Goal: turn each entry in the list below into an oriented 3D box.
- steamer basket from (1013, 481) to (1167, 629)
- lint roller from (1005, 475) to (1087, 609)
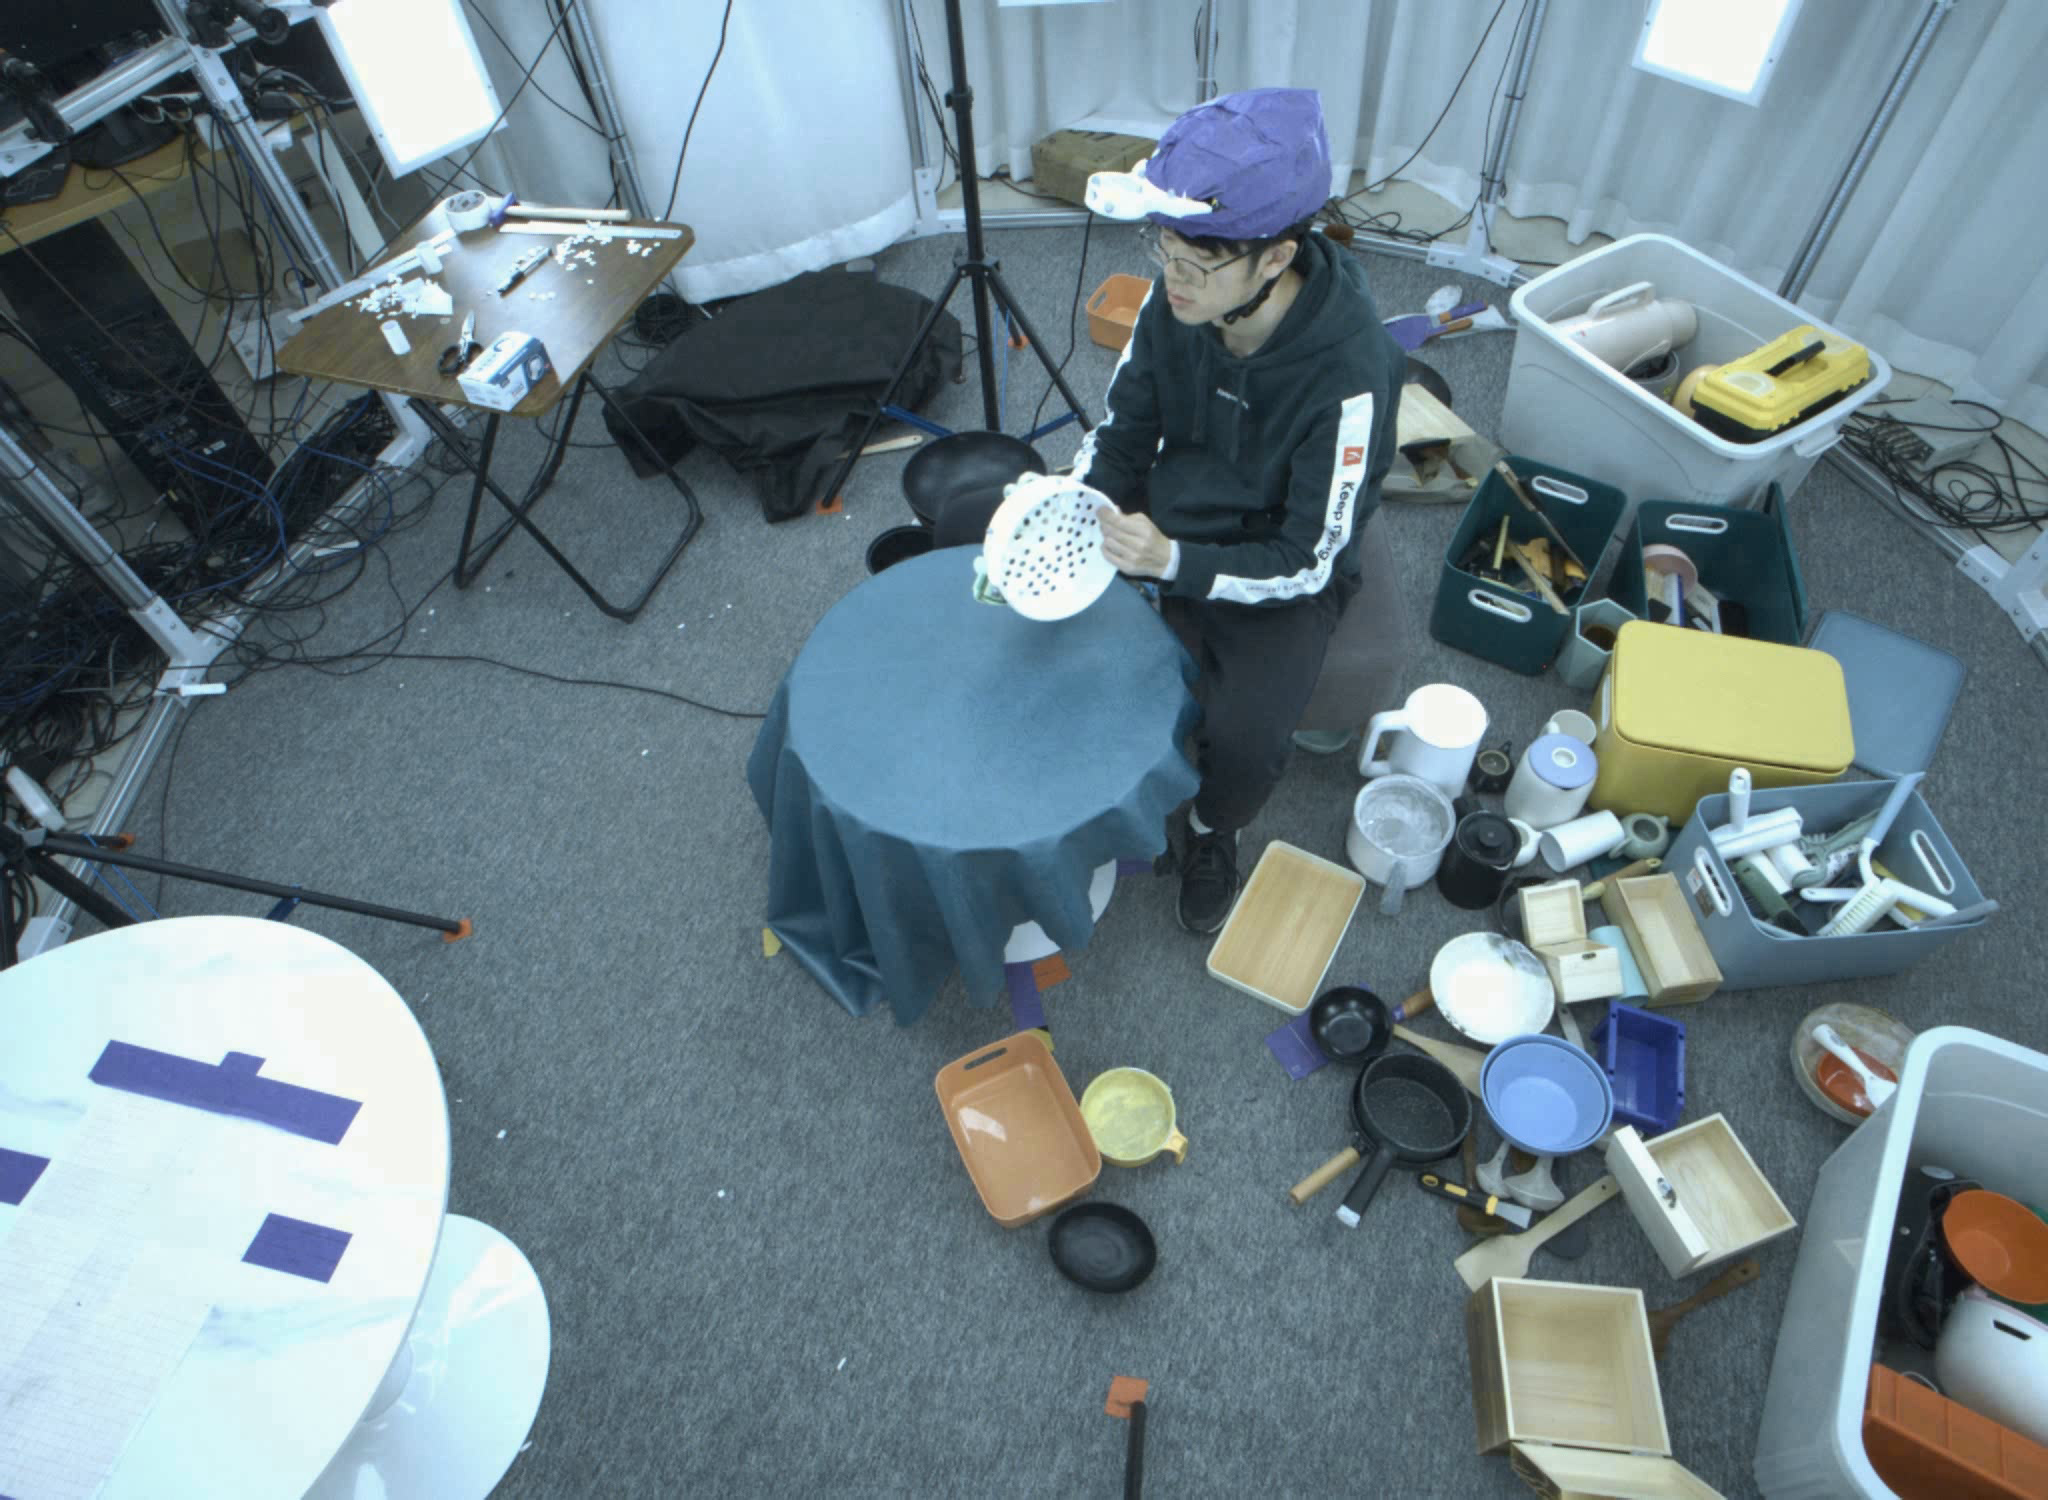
[{"bbox_3d":[0.083,-0.273,1.711,0.234,0.203,0.068,-8,31,-21],"label":"steamer basket"},{"bbox_3d":[0.046,-0.312,1.799,0.081,0.198,0.185,30,23,13],"label":"lint roller"}]
